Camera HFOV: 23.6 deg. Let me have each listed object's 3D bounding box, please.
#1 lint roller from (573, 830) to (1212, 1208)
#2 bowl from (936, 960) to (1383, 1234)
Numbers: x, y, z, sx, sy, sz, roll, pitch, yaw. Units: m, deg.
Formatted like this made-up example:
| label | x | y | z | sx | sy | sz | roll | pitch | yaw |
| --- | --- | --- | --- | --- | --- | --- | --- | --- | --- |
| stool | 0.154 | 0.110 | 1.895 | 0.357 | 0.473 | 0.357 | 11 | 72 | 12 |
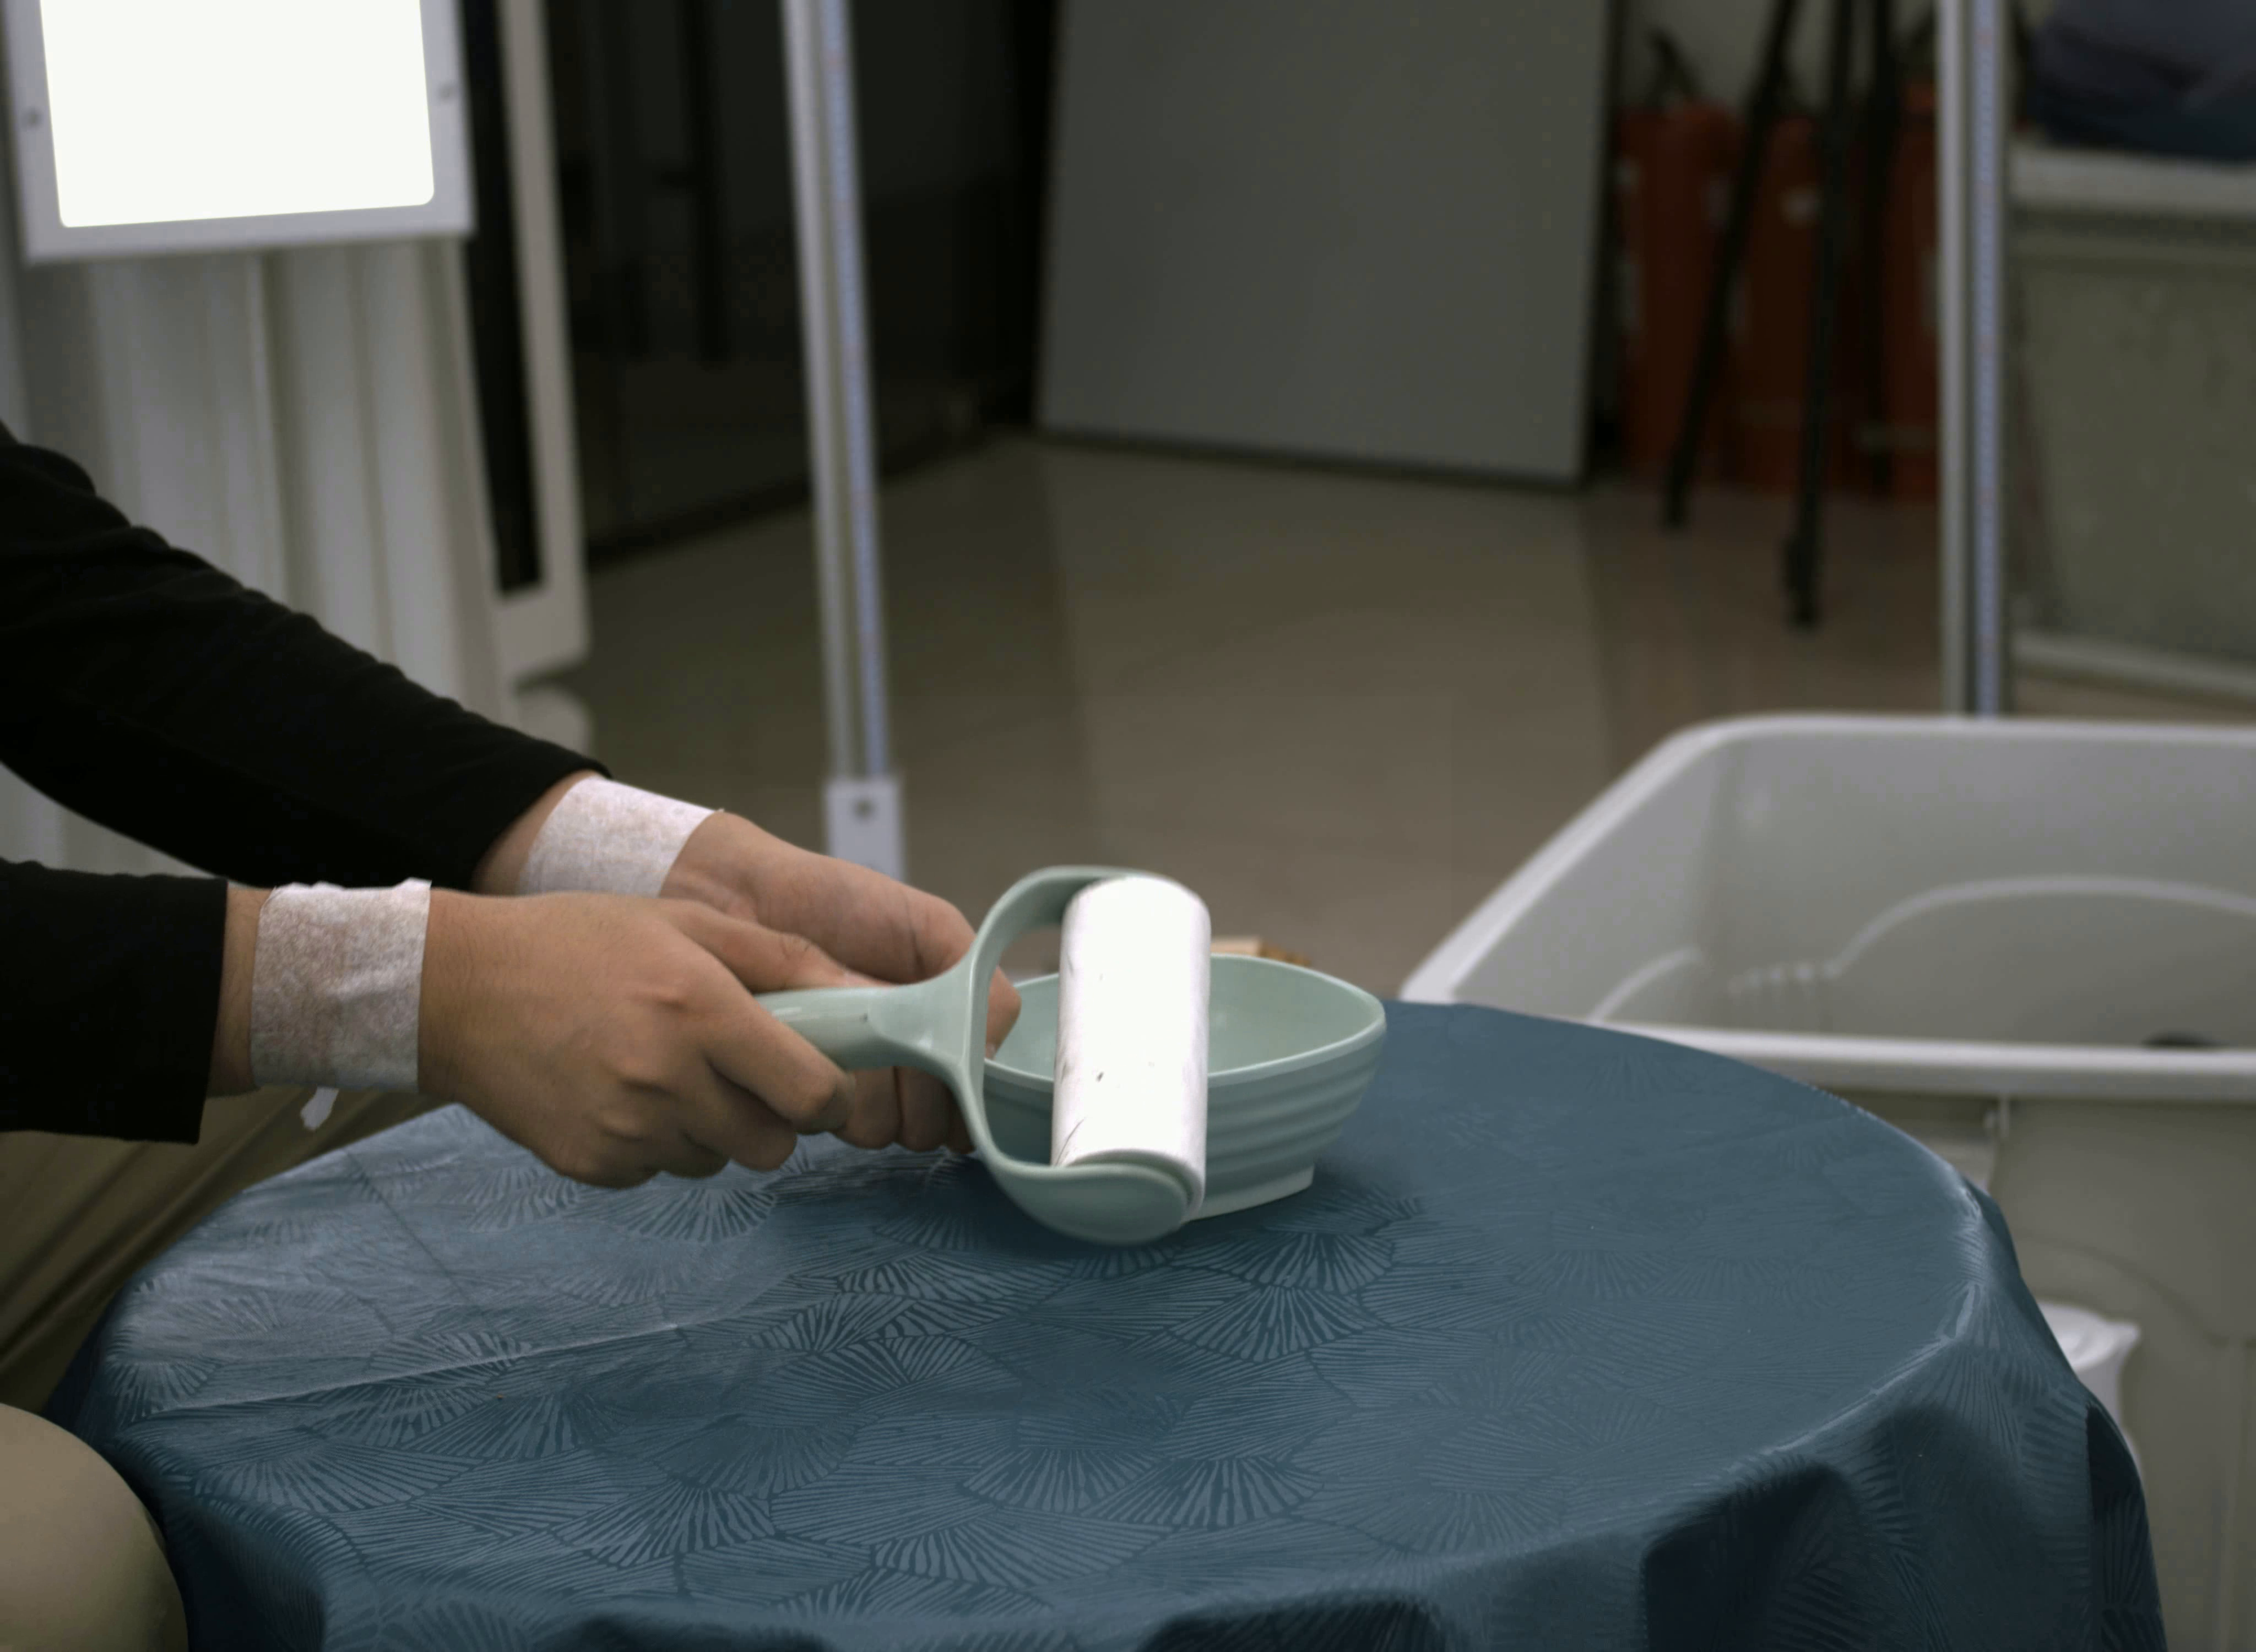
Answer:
| label | x | y | z | sx | sy | sz | roll | pitch | yaw |
| --- | --- | --- | --- | --- | --- | --- | --- | --- | --- |
| lint roller | -0.072 | 0.060 | 1.626 | 0.195 | 0.048 | 0.118 | -2 | 55 | 5 |
| bowl | 0.011 | 0.091 | 1.770 | 0.149 | 0.059 | 0.152 | -3 | 13 | 0 |
